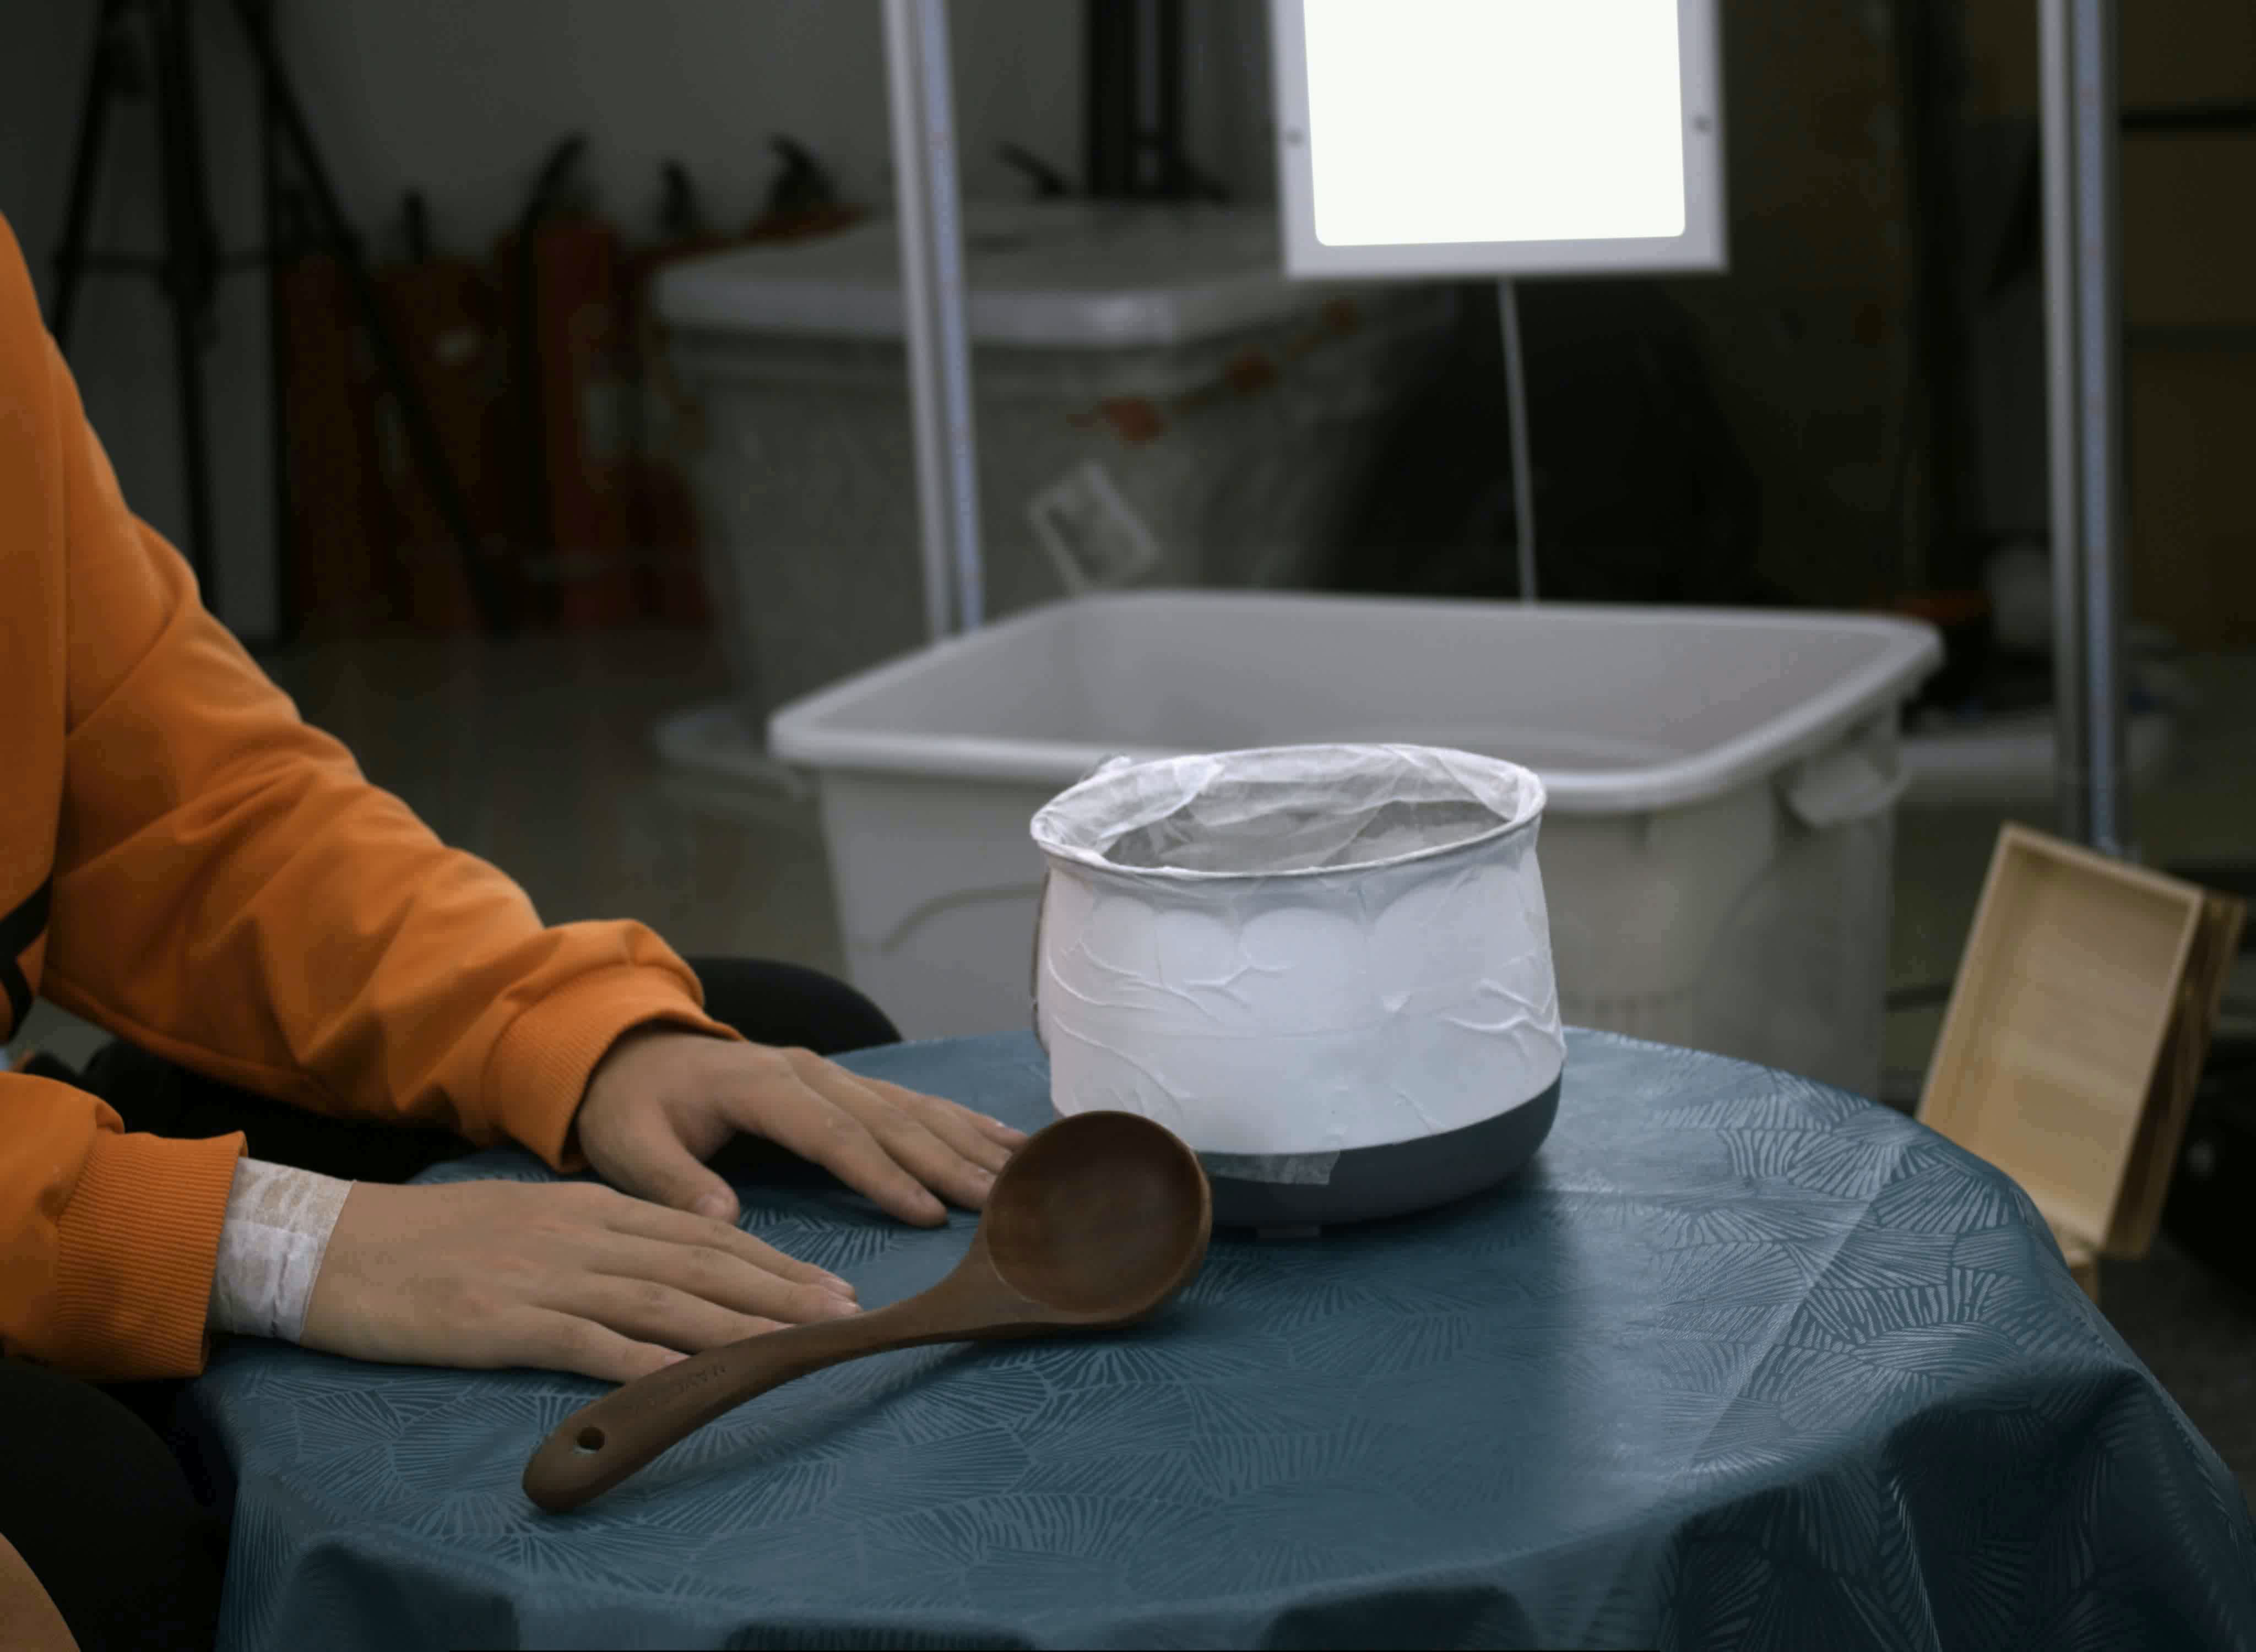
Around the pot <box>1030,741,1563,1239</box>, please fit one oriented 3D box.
[{"bbox_3d":[0.042,0.050,1.903,0.174,0.137,0.238,-14,17,-35],"label":"pot"}]

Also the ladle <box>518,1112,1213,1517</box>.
[{"bbox_3d":[-0.079,0.150,1.706,0.253,0.066,0.077,-16,43,-40],"label":"ladle"}]
